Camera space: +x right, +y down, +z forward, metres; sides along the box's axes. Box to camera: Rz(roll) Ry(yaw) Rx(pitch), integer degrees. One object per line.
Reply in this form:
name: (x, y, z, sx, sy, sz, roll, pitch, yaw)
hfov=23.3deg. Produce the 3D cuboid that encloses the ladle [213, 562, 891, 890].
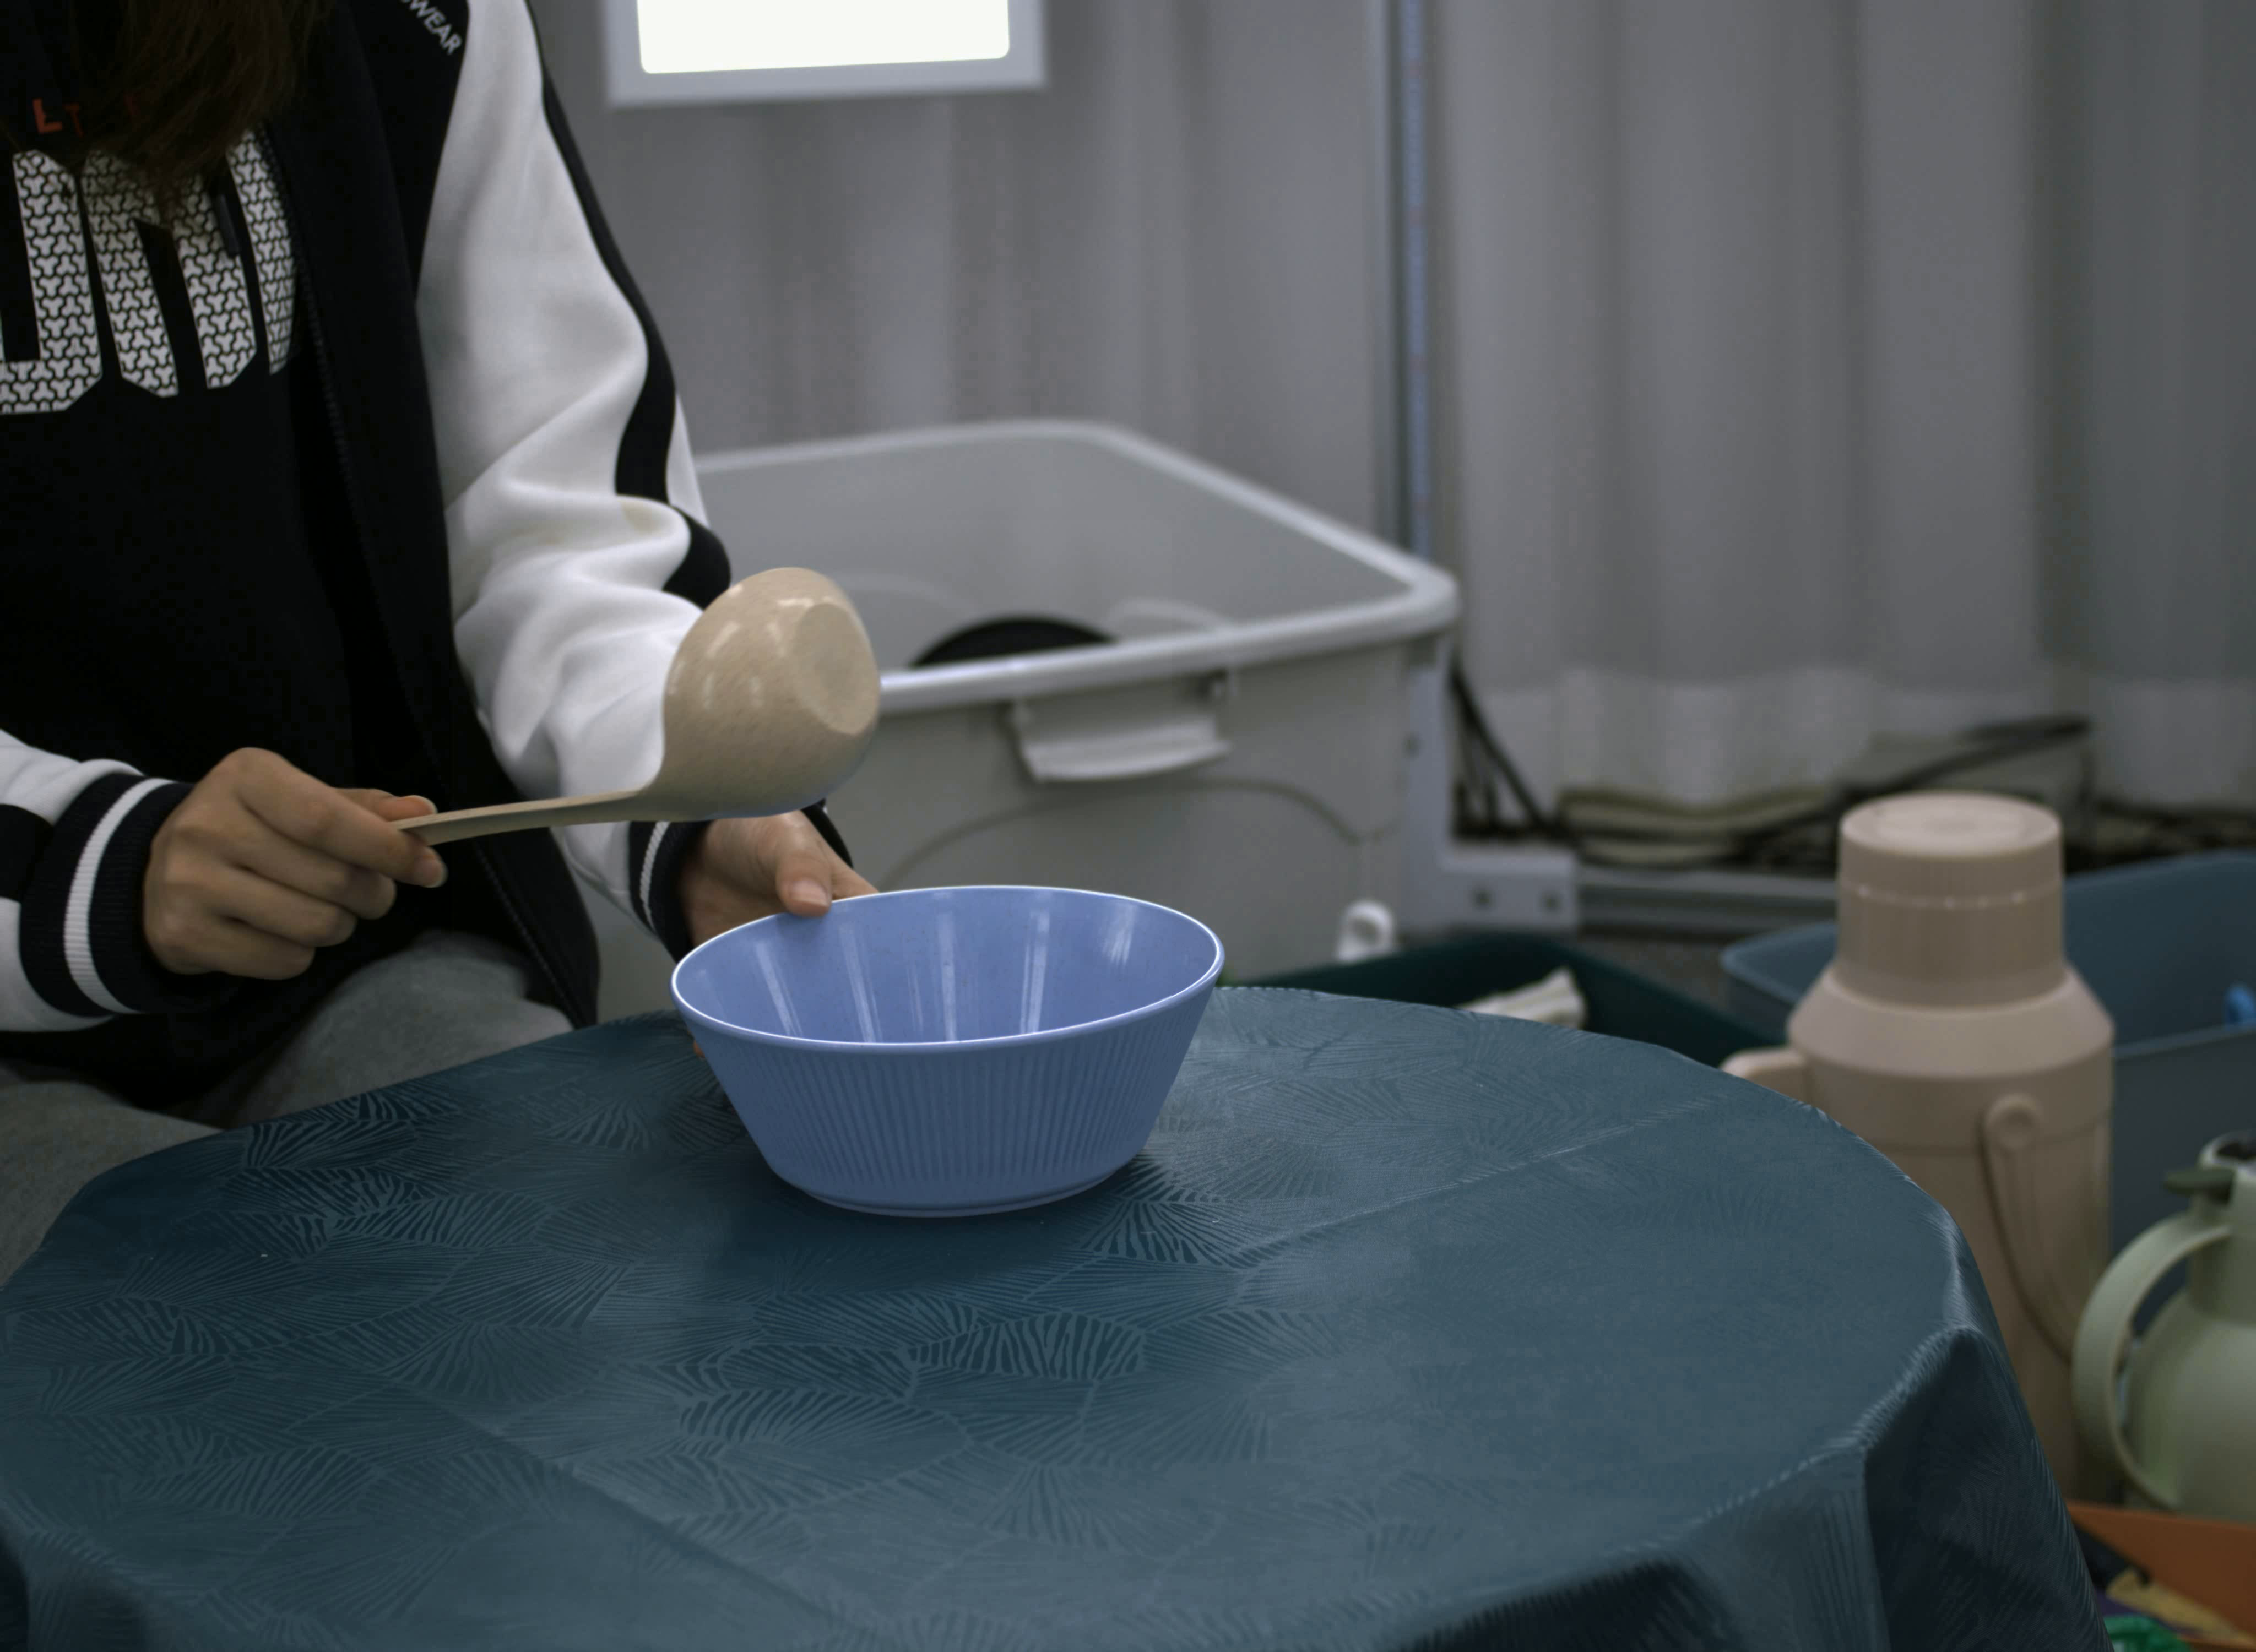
ladle: (-0.182, -0.028, 1.692, 0.254, 0.074, 0.071, -9, -35, 37)

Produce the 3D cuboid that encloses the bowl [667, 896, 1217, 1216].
bowl: (-0.058, 0.075, 1.739, 0.175, 0.070, 0.177, -2, 14, 0)
